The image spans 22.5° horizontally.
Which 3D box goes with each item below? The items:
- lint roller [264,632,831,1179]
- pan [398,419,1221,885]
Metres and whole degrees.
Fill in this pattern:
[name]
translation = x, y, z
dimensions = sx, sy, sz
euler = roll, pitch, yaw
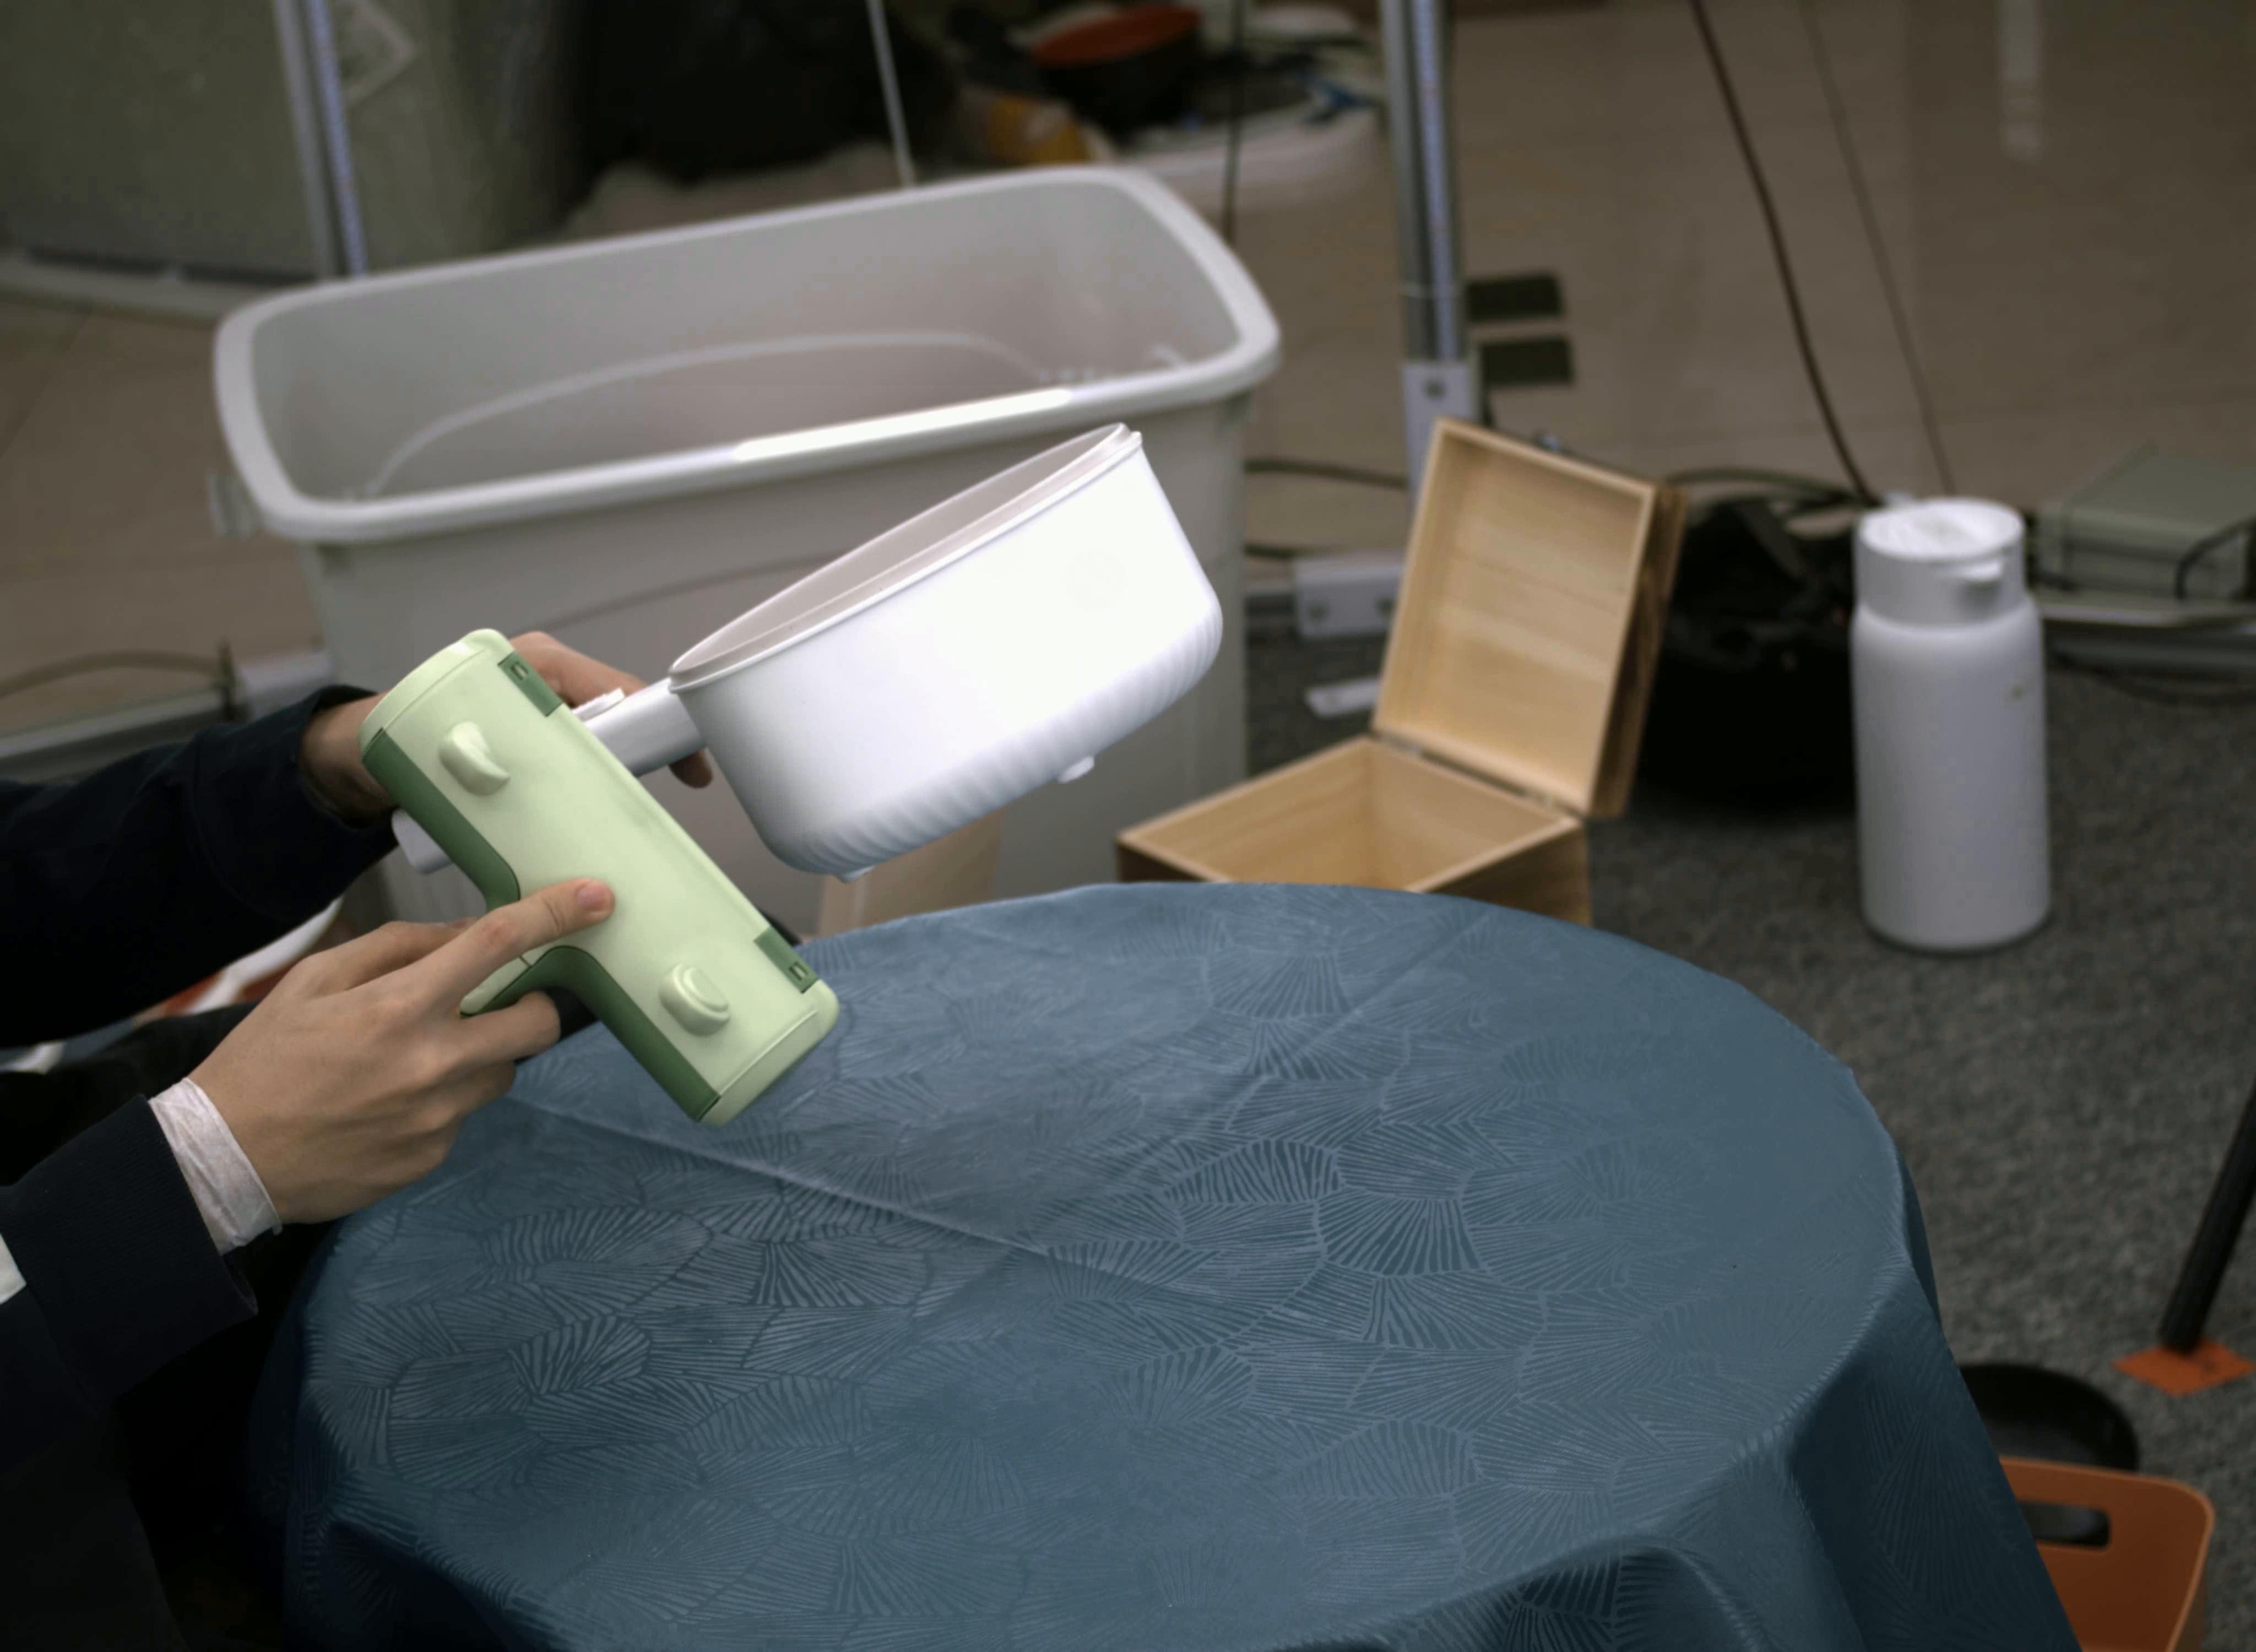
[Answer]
[lint roller]
translation = -0.232, 0.056, 2.004
dimensions = 0.182, 0.198, 0.083
euler = -42, 0, -18
[pan]
translation = -0.123, -0.032, 2.157
dimensions = 0.357, 0.102, 0.199
euler = -26, 9, 30
